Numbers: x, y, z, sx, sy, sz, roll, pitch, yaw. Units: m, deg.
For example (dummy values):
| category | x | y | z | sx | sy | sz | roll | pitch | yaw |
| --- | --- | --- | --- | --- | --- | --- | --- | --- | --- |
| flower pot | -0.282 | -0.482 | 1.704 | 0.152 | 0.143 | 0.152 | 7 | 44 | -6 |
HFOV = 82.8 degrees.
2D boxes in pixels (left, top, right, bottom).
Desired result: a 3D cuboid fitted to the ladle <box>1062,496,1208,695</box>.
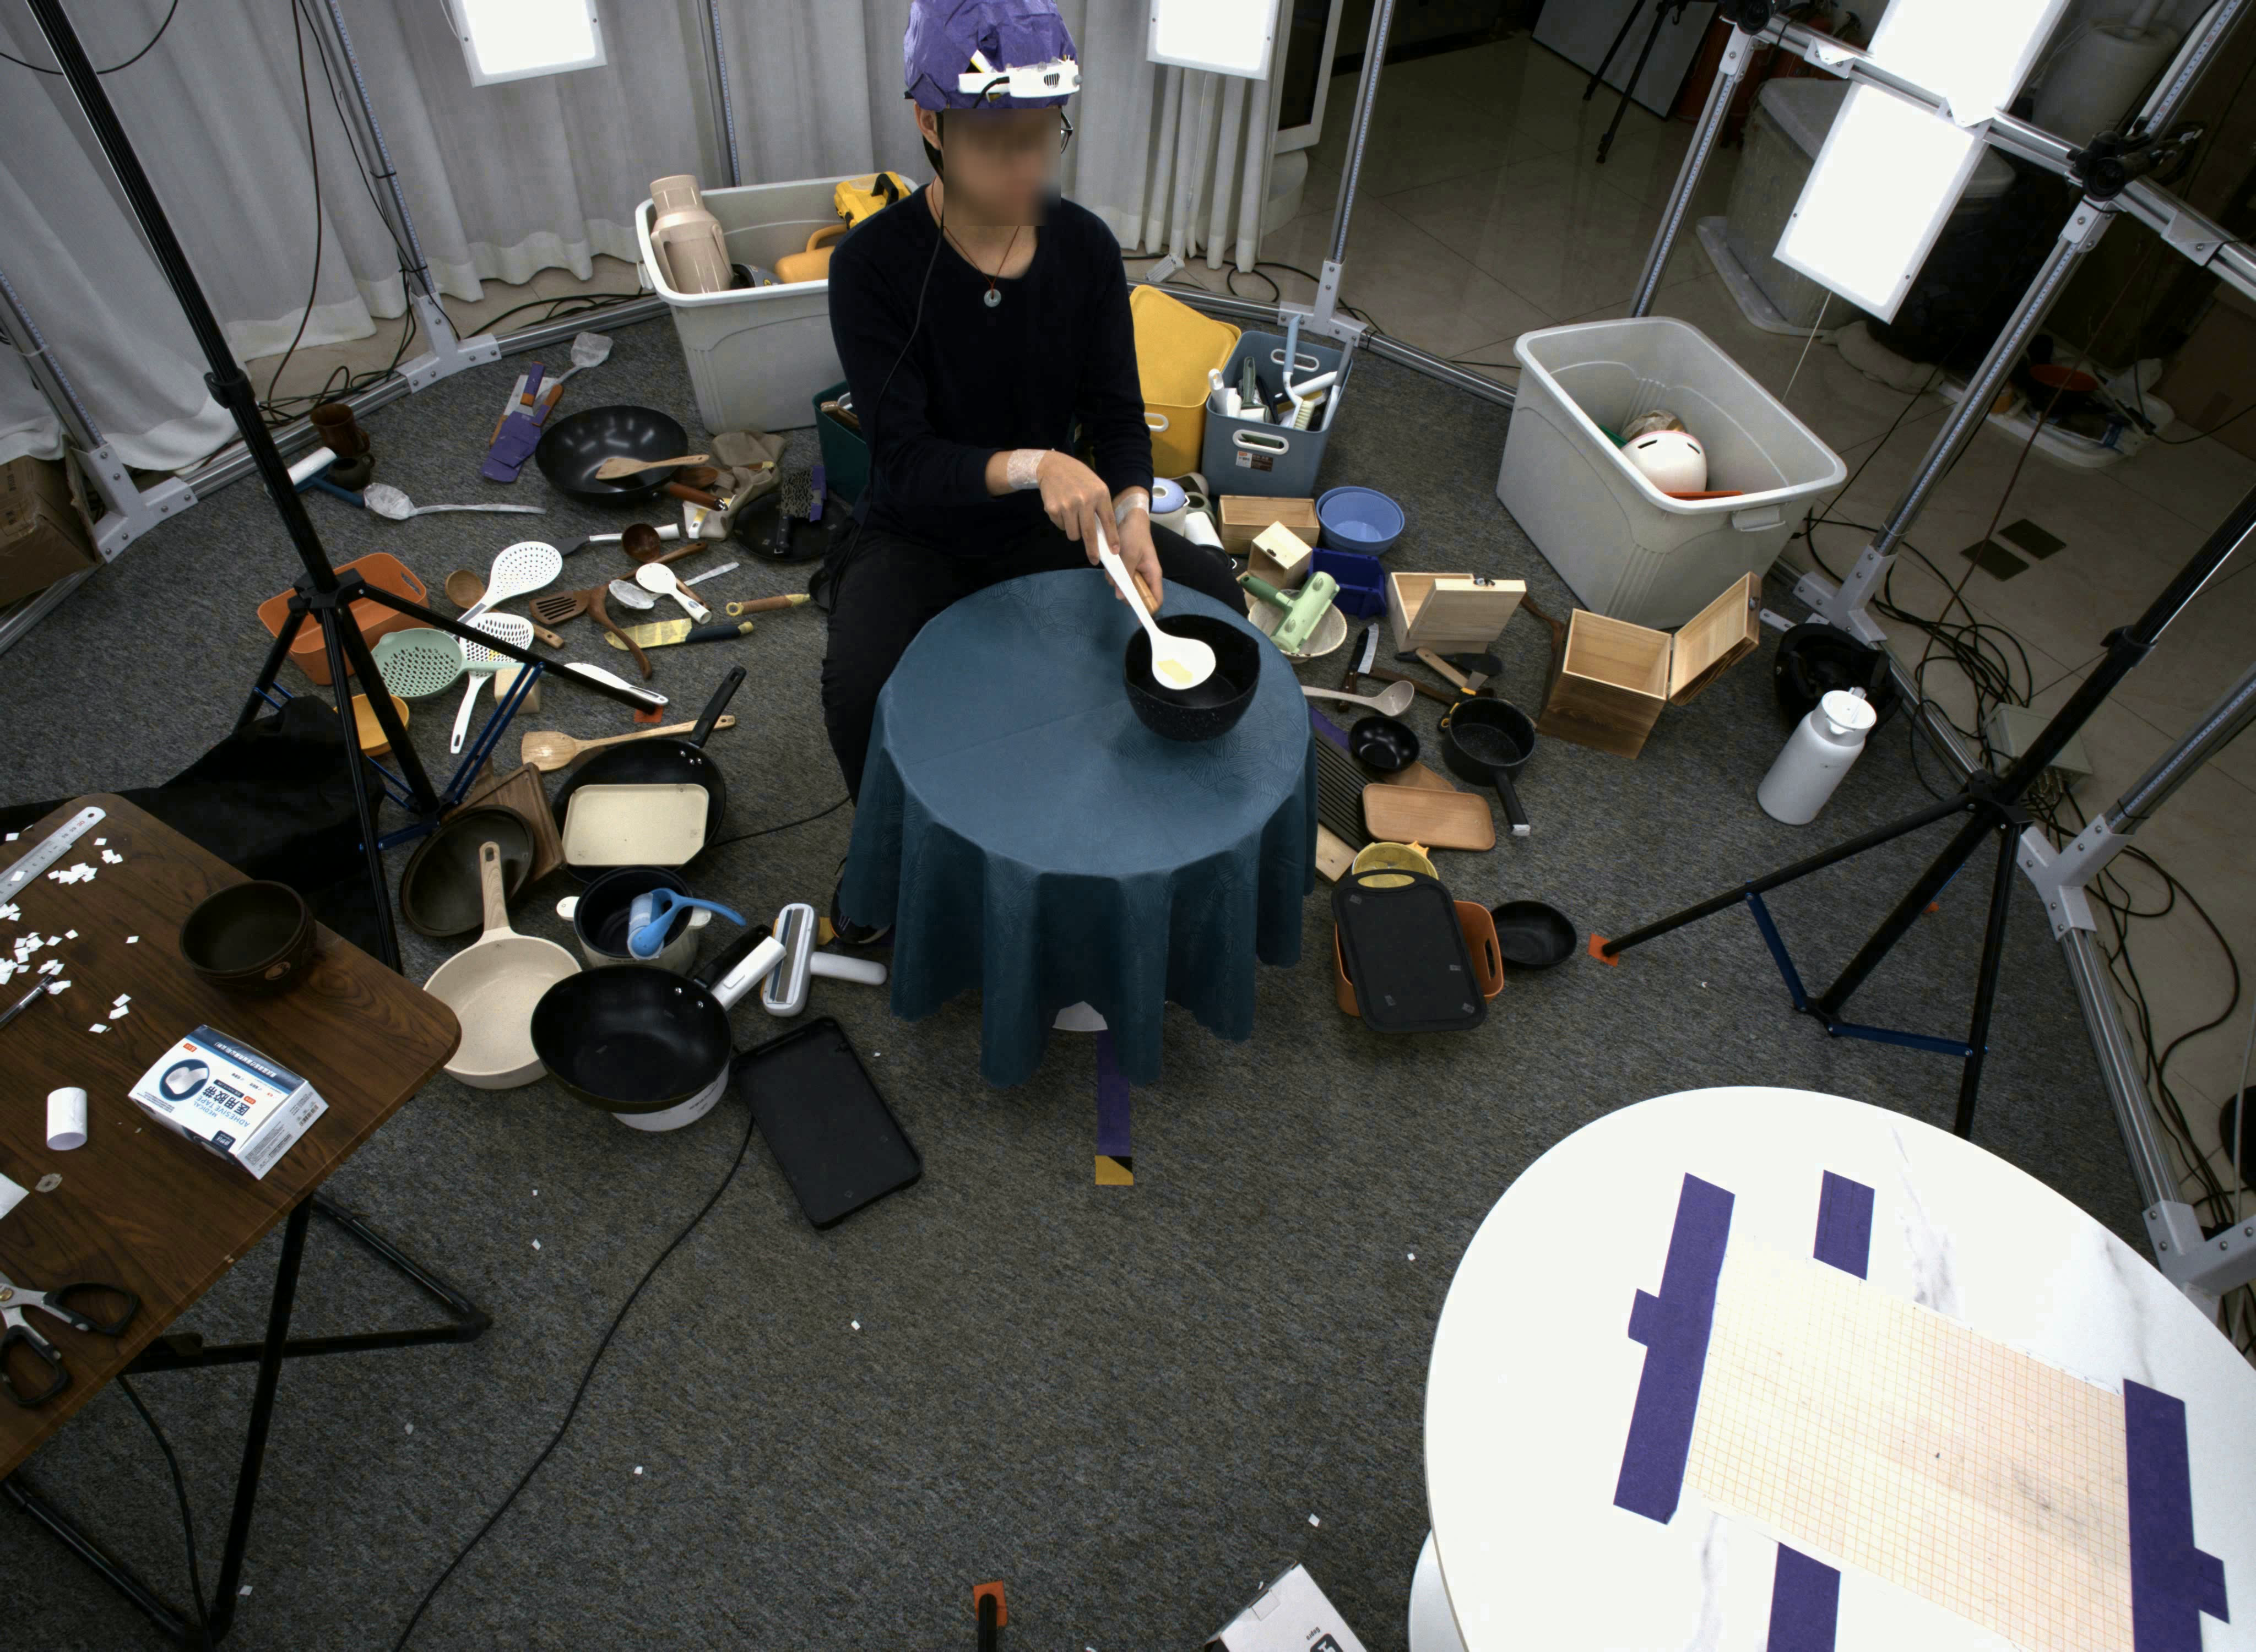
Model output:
| category | x | y | z | sx | sy | sz | roll | pitch | yaw |
| --- | --- | --- | --- | --- | --- | --- | --- | --- | --- |
| ladle | 0.004 | -0.309 | 1.719 | 0.090 | 0.070 | 0.290 | -33 | 100 | -9 |

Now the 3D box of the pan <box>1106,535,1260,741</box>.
| category | x | y | z | sx | sy | sz | roll | pitch | yaw |
| --- | --- | --- | --- | --- | --- | --- | --- | --- | --- |
| pan | 0.047 | -0.262 | 1.780 | 0.208 | 0.105 | 0.350 | -19 | 54 | -18 |
